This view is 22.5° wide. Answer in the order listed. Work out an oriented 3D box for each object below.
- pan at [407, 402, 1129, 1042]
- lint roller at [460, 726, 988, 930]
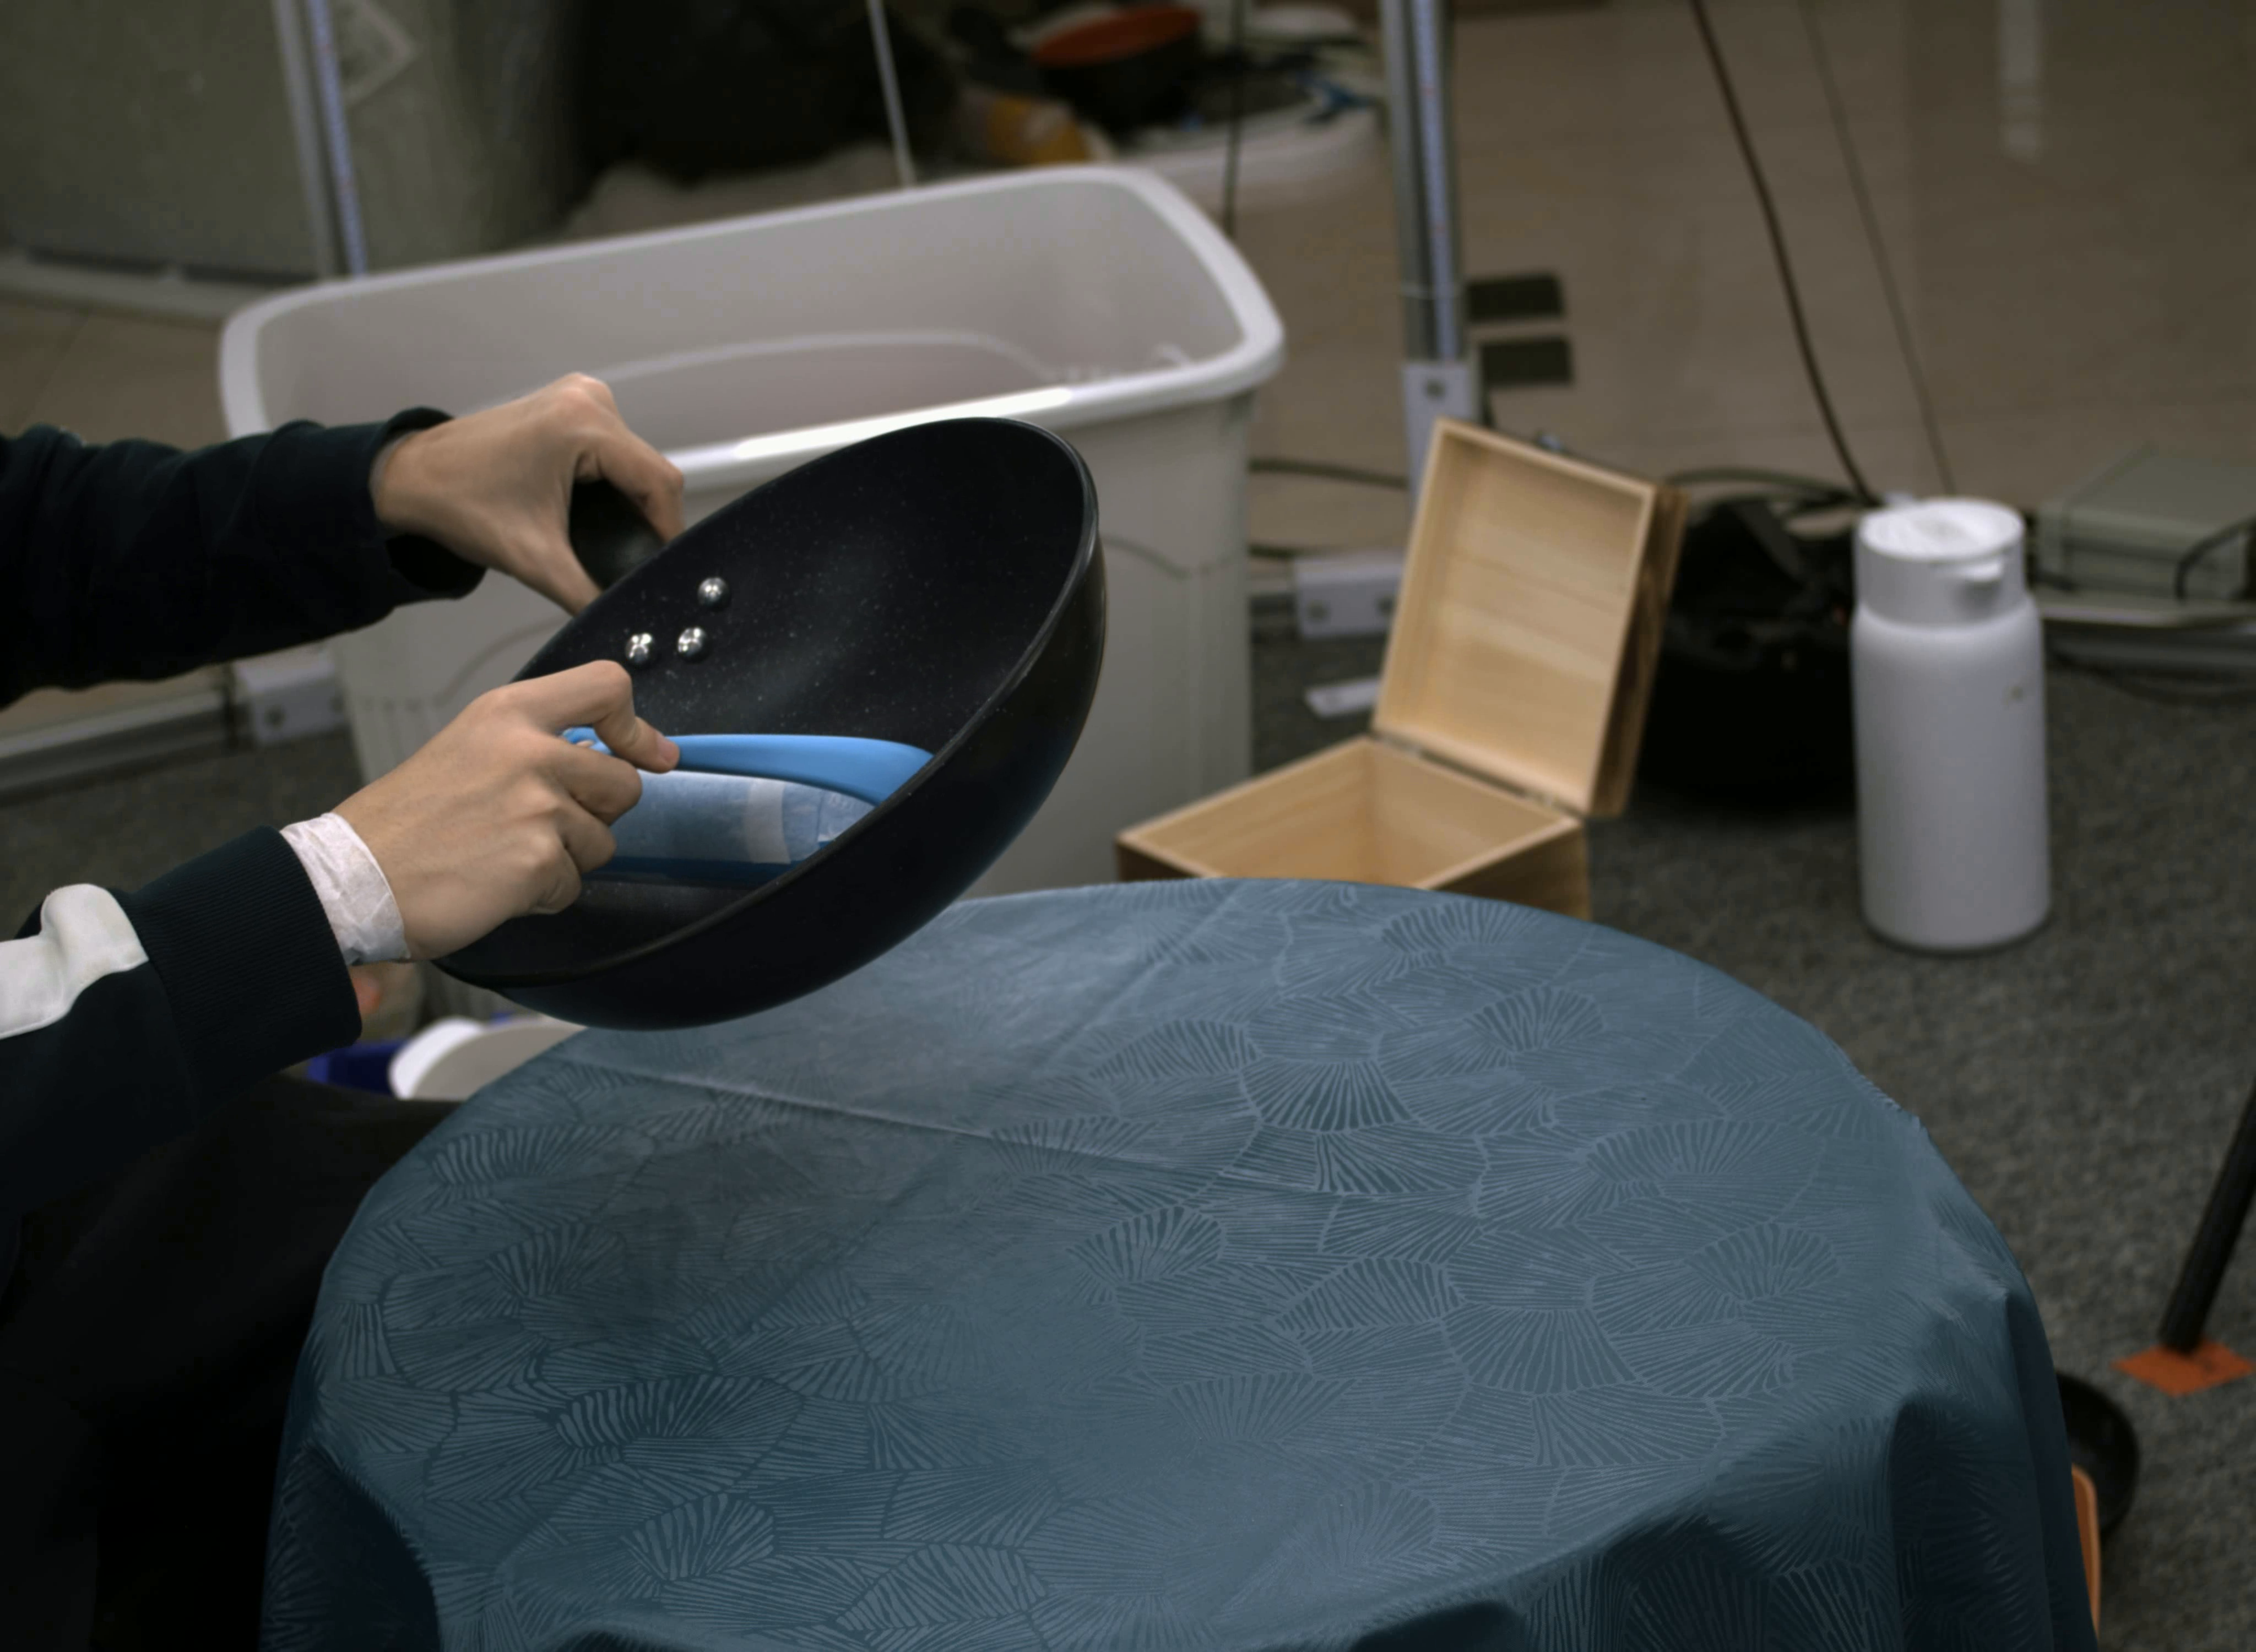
[{"bbox_3d":[-0.154,-0.055,2.194,0.309,0.113,0.471,-37,29,-5],"label":"pan"},{"bbox_3d":[-0.176,-0.001,2.074,0.228,0.068,0.180,5,6,34],"label":"lint roller"}]
